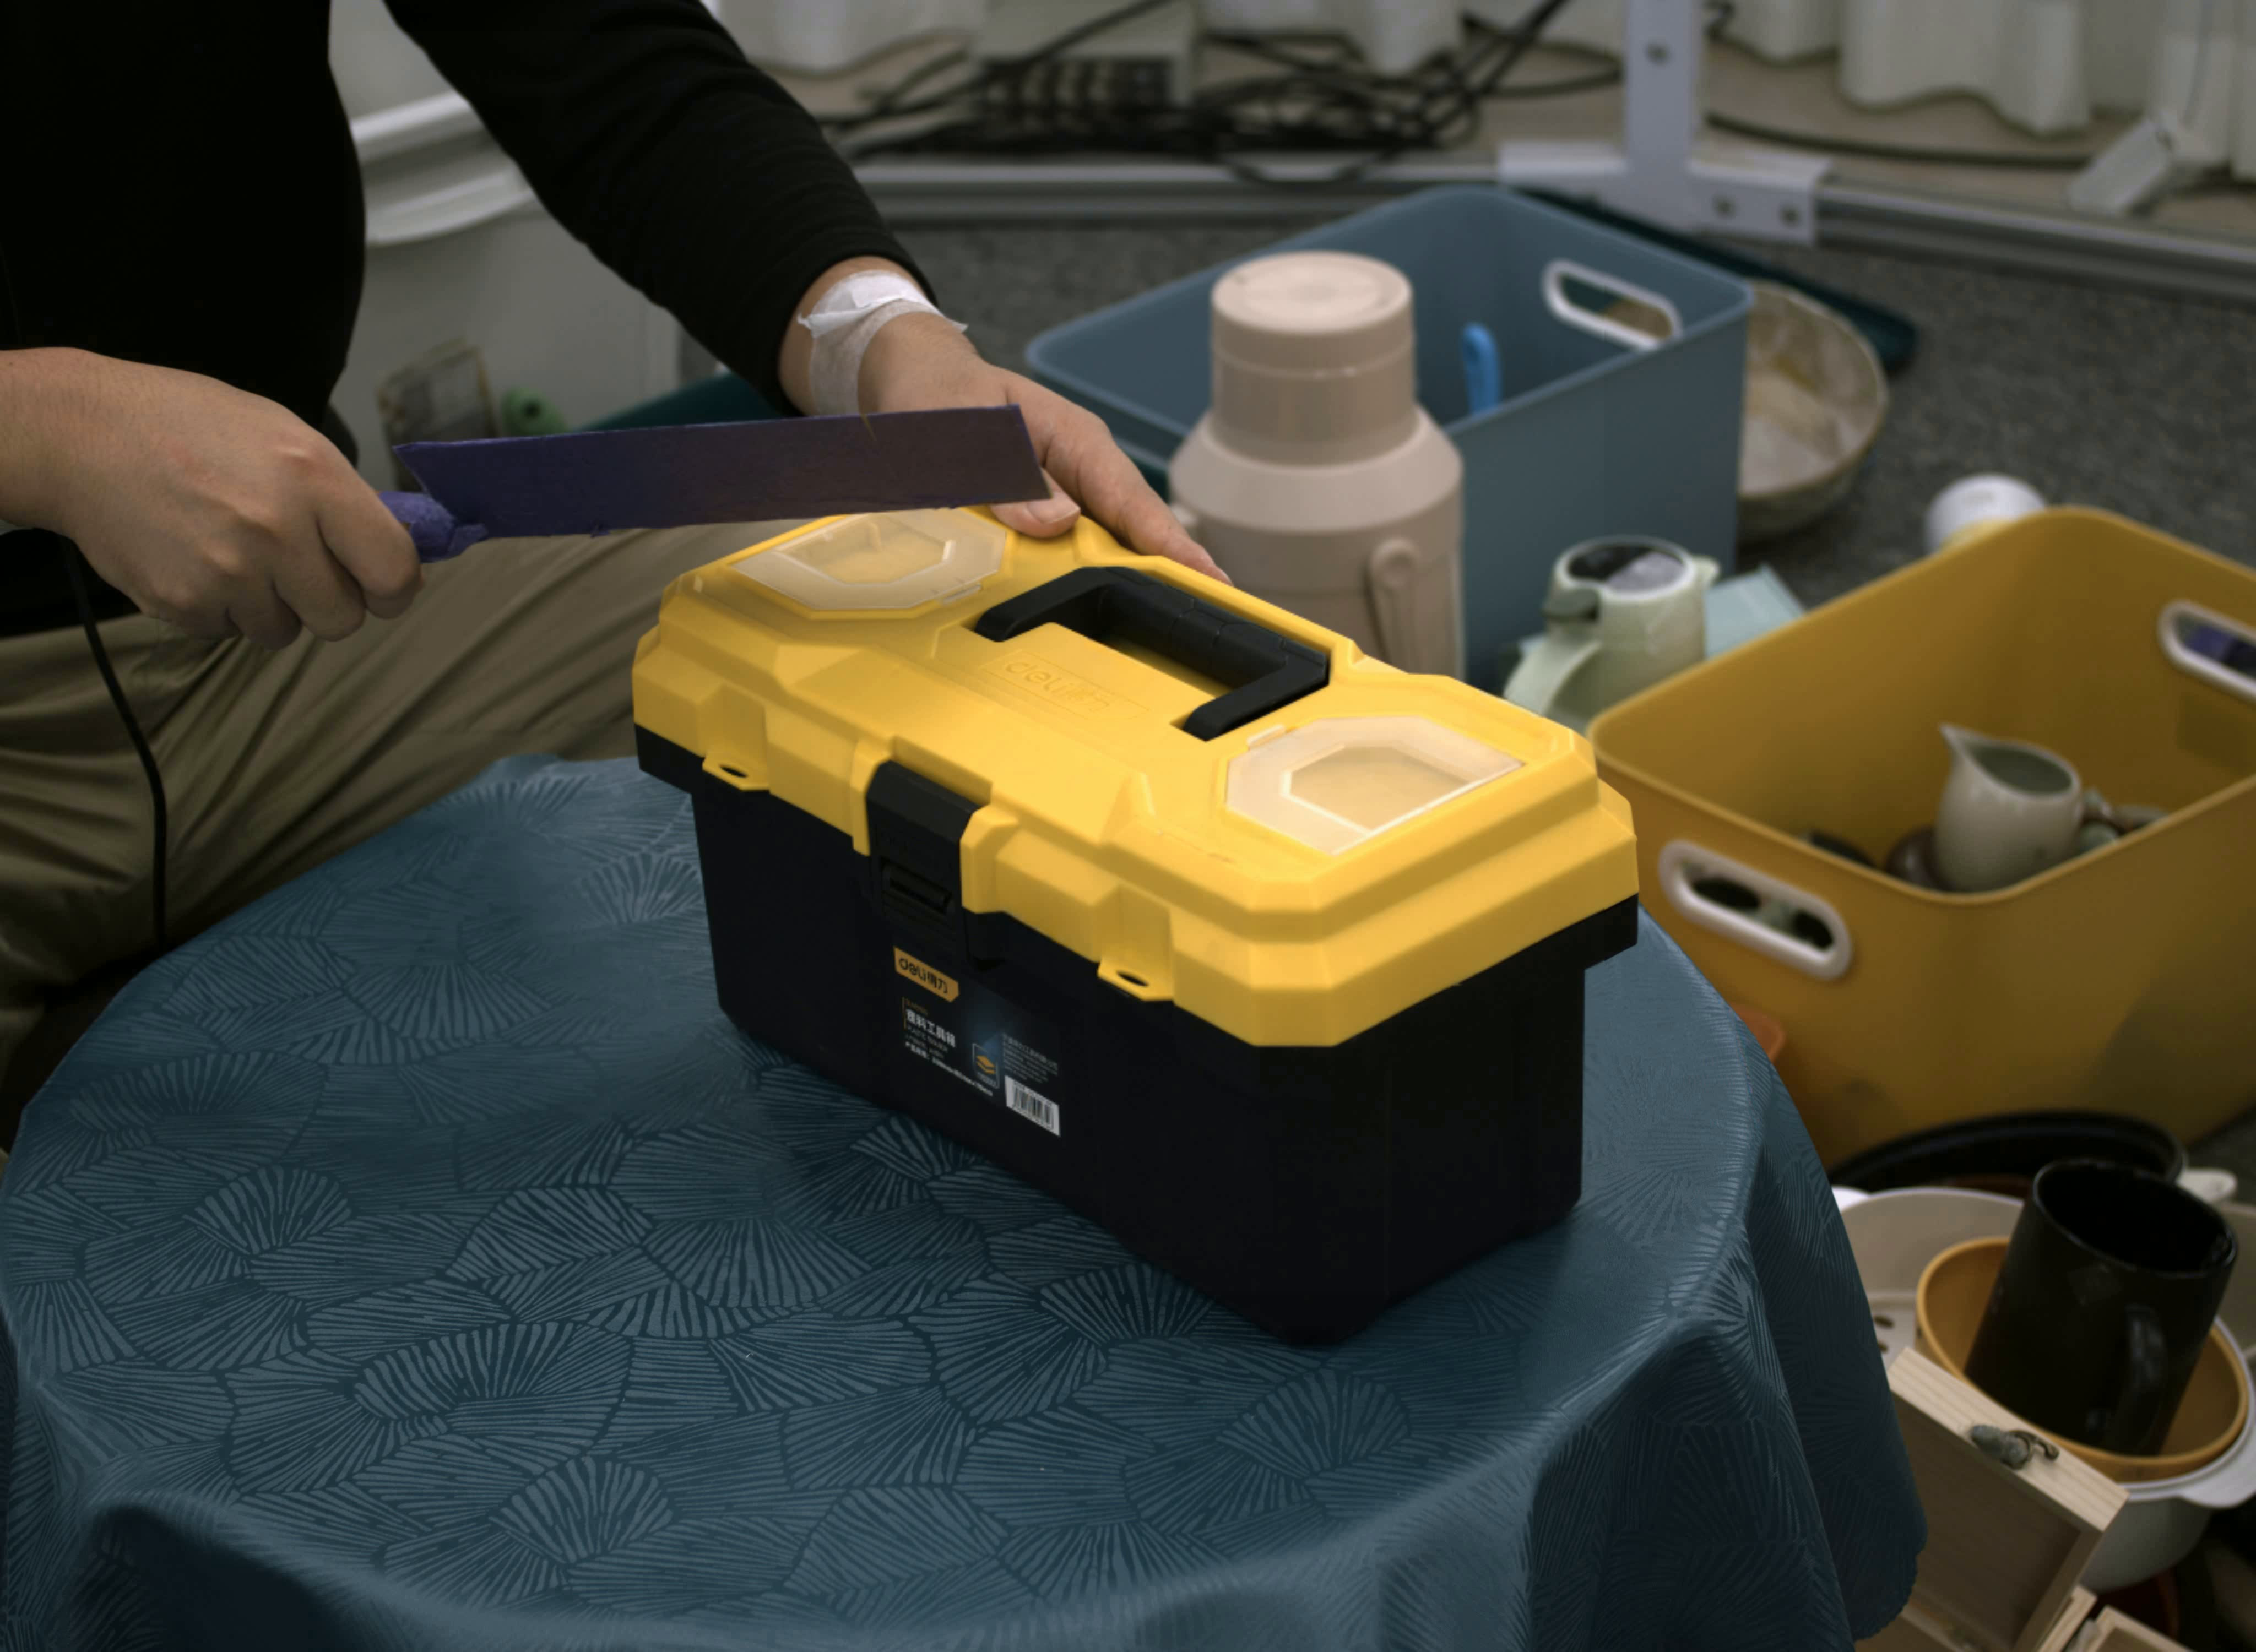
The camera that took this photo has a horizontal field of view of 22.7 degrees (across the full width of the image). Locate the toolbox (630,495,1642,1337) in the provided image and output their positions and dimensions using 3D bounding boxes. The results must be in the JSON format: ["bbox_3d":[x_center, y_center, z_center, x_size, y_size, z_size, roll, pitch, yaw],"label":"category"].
[{"bbox_3d":[-0.002,0.021,1.870,0.183,0.171,0.351,-23,32,-35],"label":"toolbox"}]

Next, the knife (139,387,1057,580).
[{"bbox_3d":[-0.183,-0.119,1.877,0.313,0.032,0.103,-5,-18,4],"label":"knife"}]
